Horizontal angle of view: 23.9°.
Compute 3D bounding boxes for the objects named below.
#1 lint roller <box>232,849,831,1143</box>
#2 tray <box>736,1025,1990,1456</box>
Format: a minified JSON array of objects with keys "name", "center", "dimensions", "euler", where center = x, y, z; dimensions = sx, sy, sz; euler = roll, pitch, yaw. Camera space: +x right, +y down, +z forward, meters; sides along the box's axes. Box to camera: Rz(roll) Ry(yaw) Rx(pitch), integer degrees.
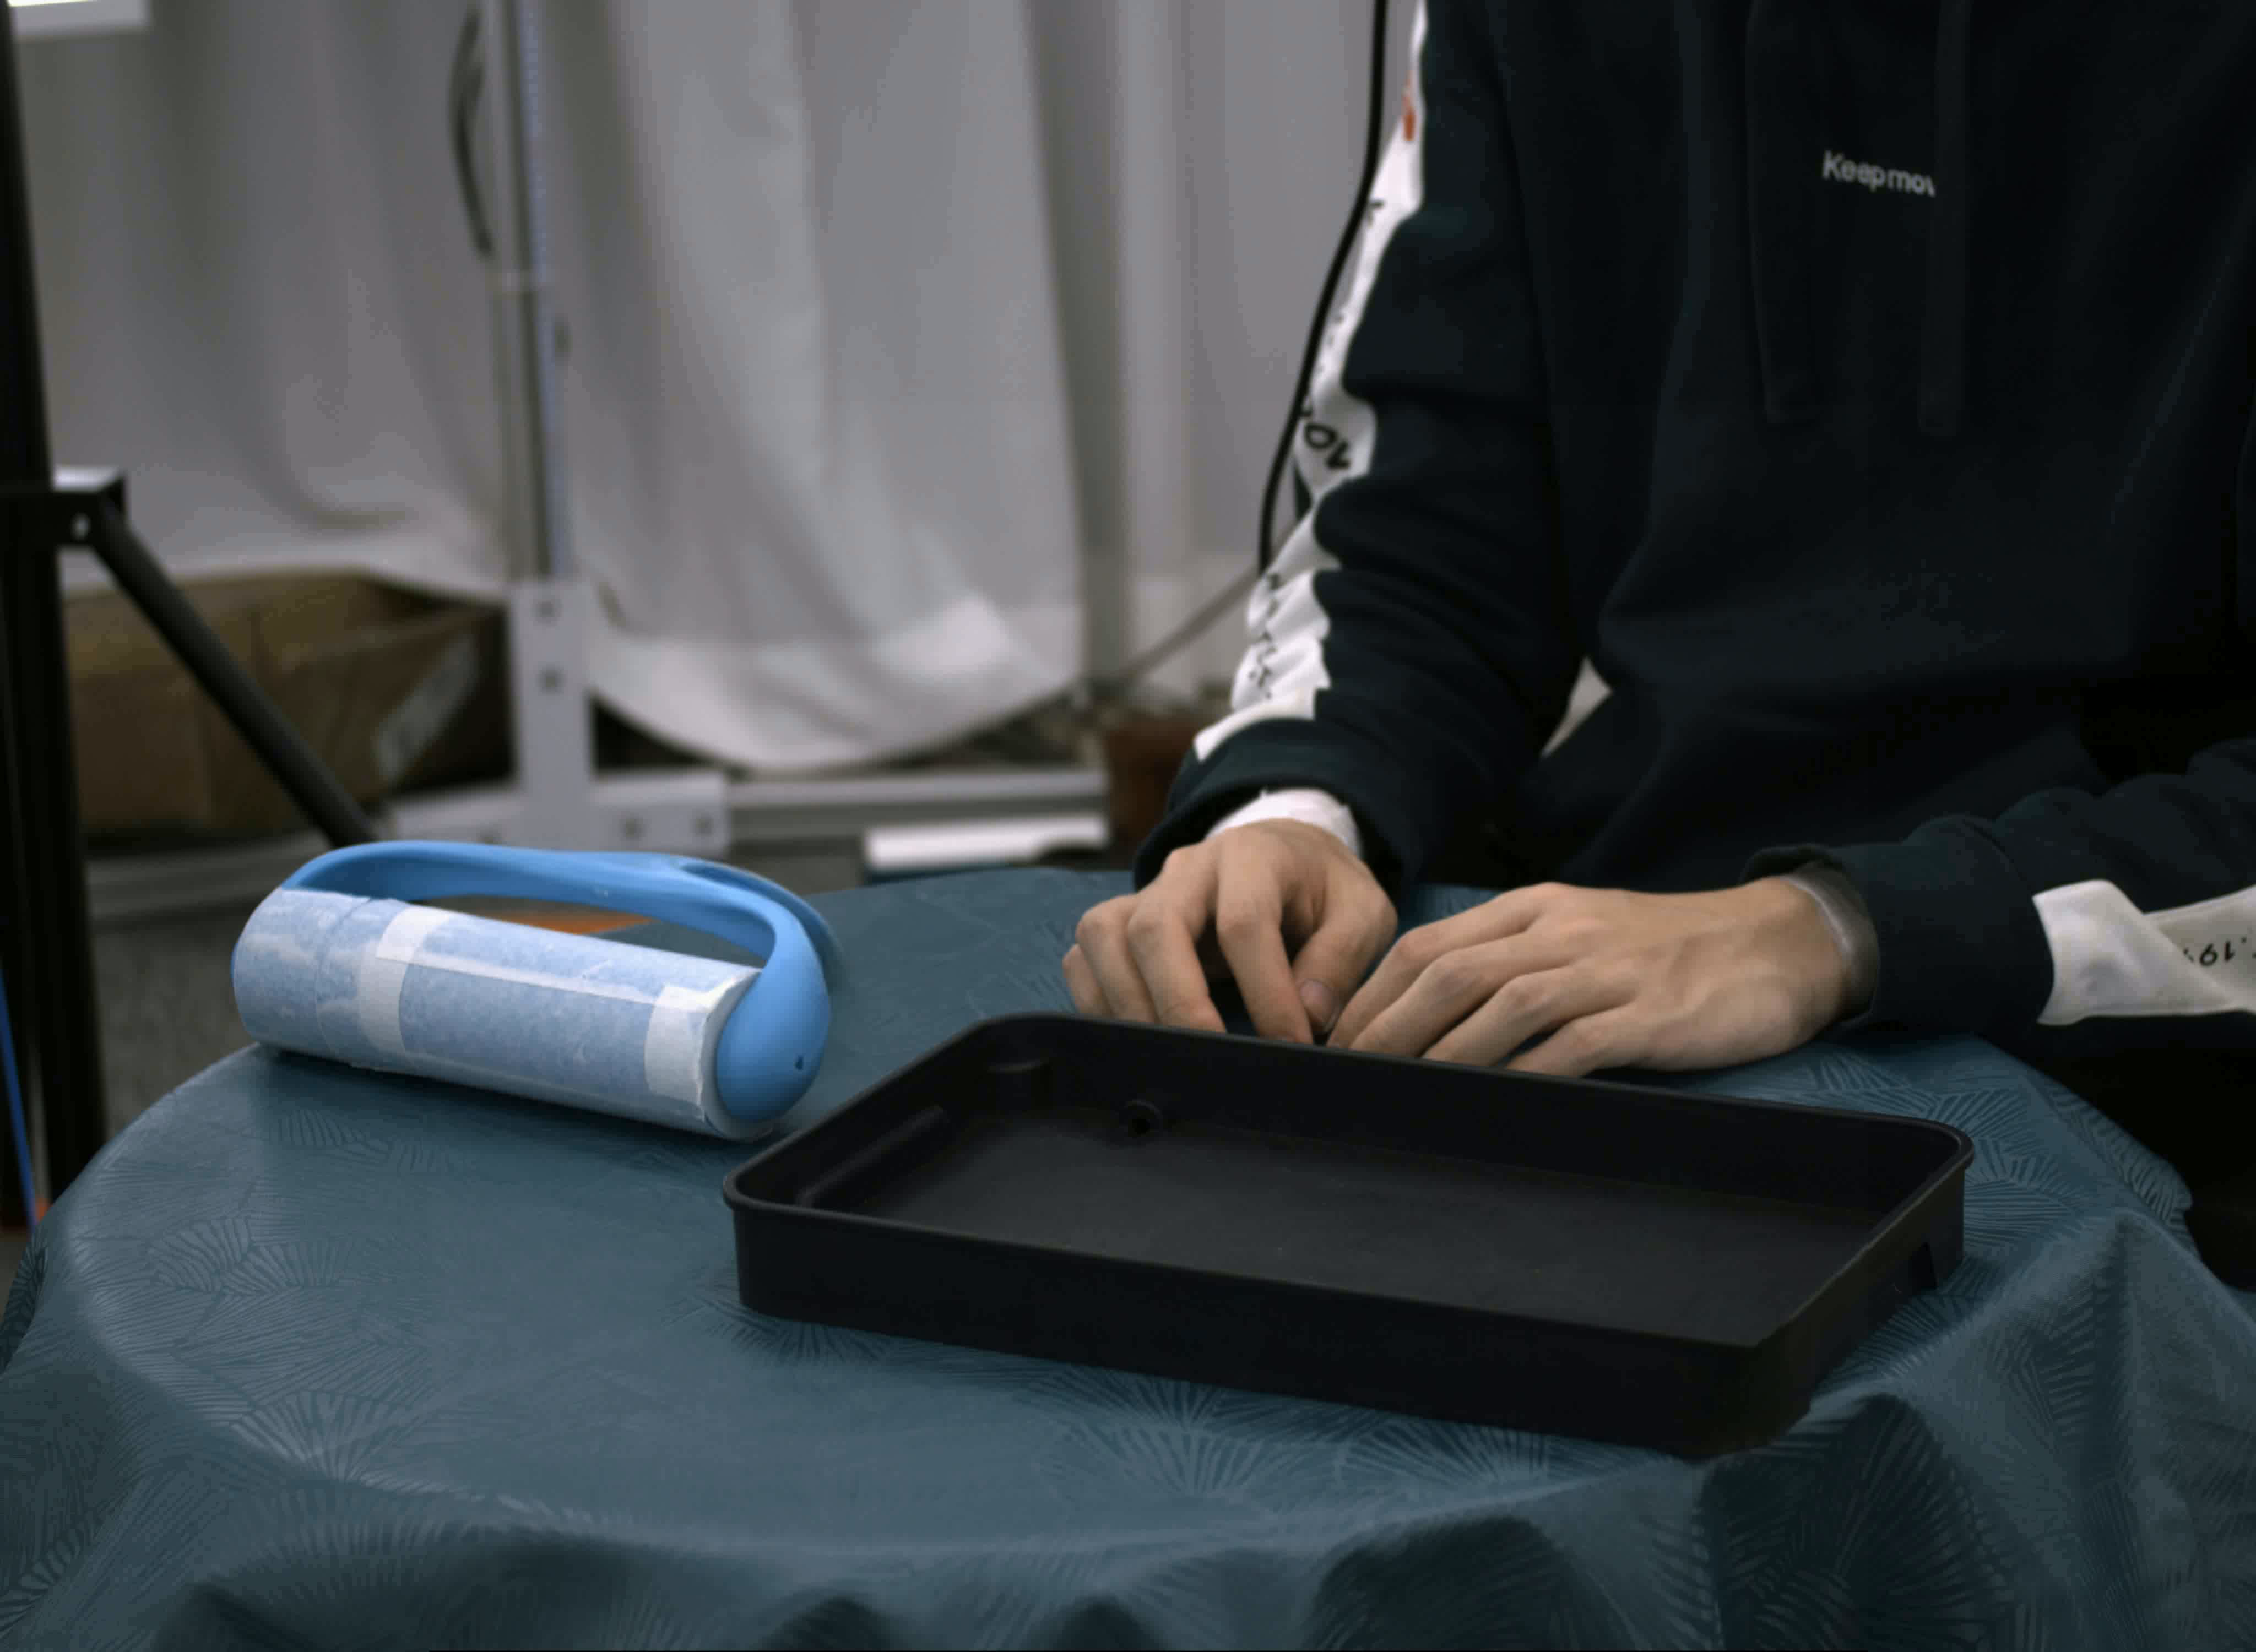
[{"name":"lint roller","center":[-0.160,0.042,1.717],"dimensions":[0.233,0.068,0.177],"euler":[6,19,34]},{"name":"tray","center":[0.066,0.111,1.473],"dimensions":[0.323,0.037,0.181],"euler":[4,17,28]}]
